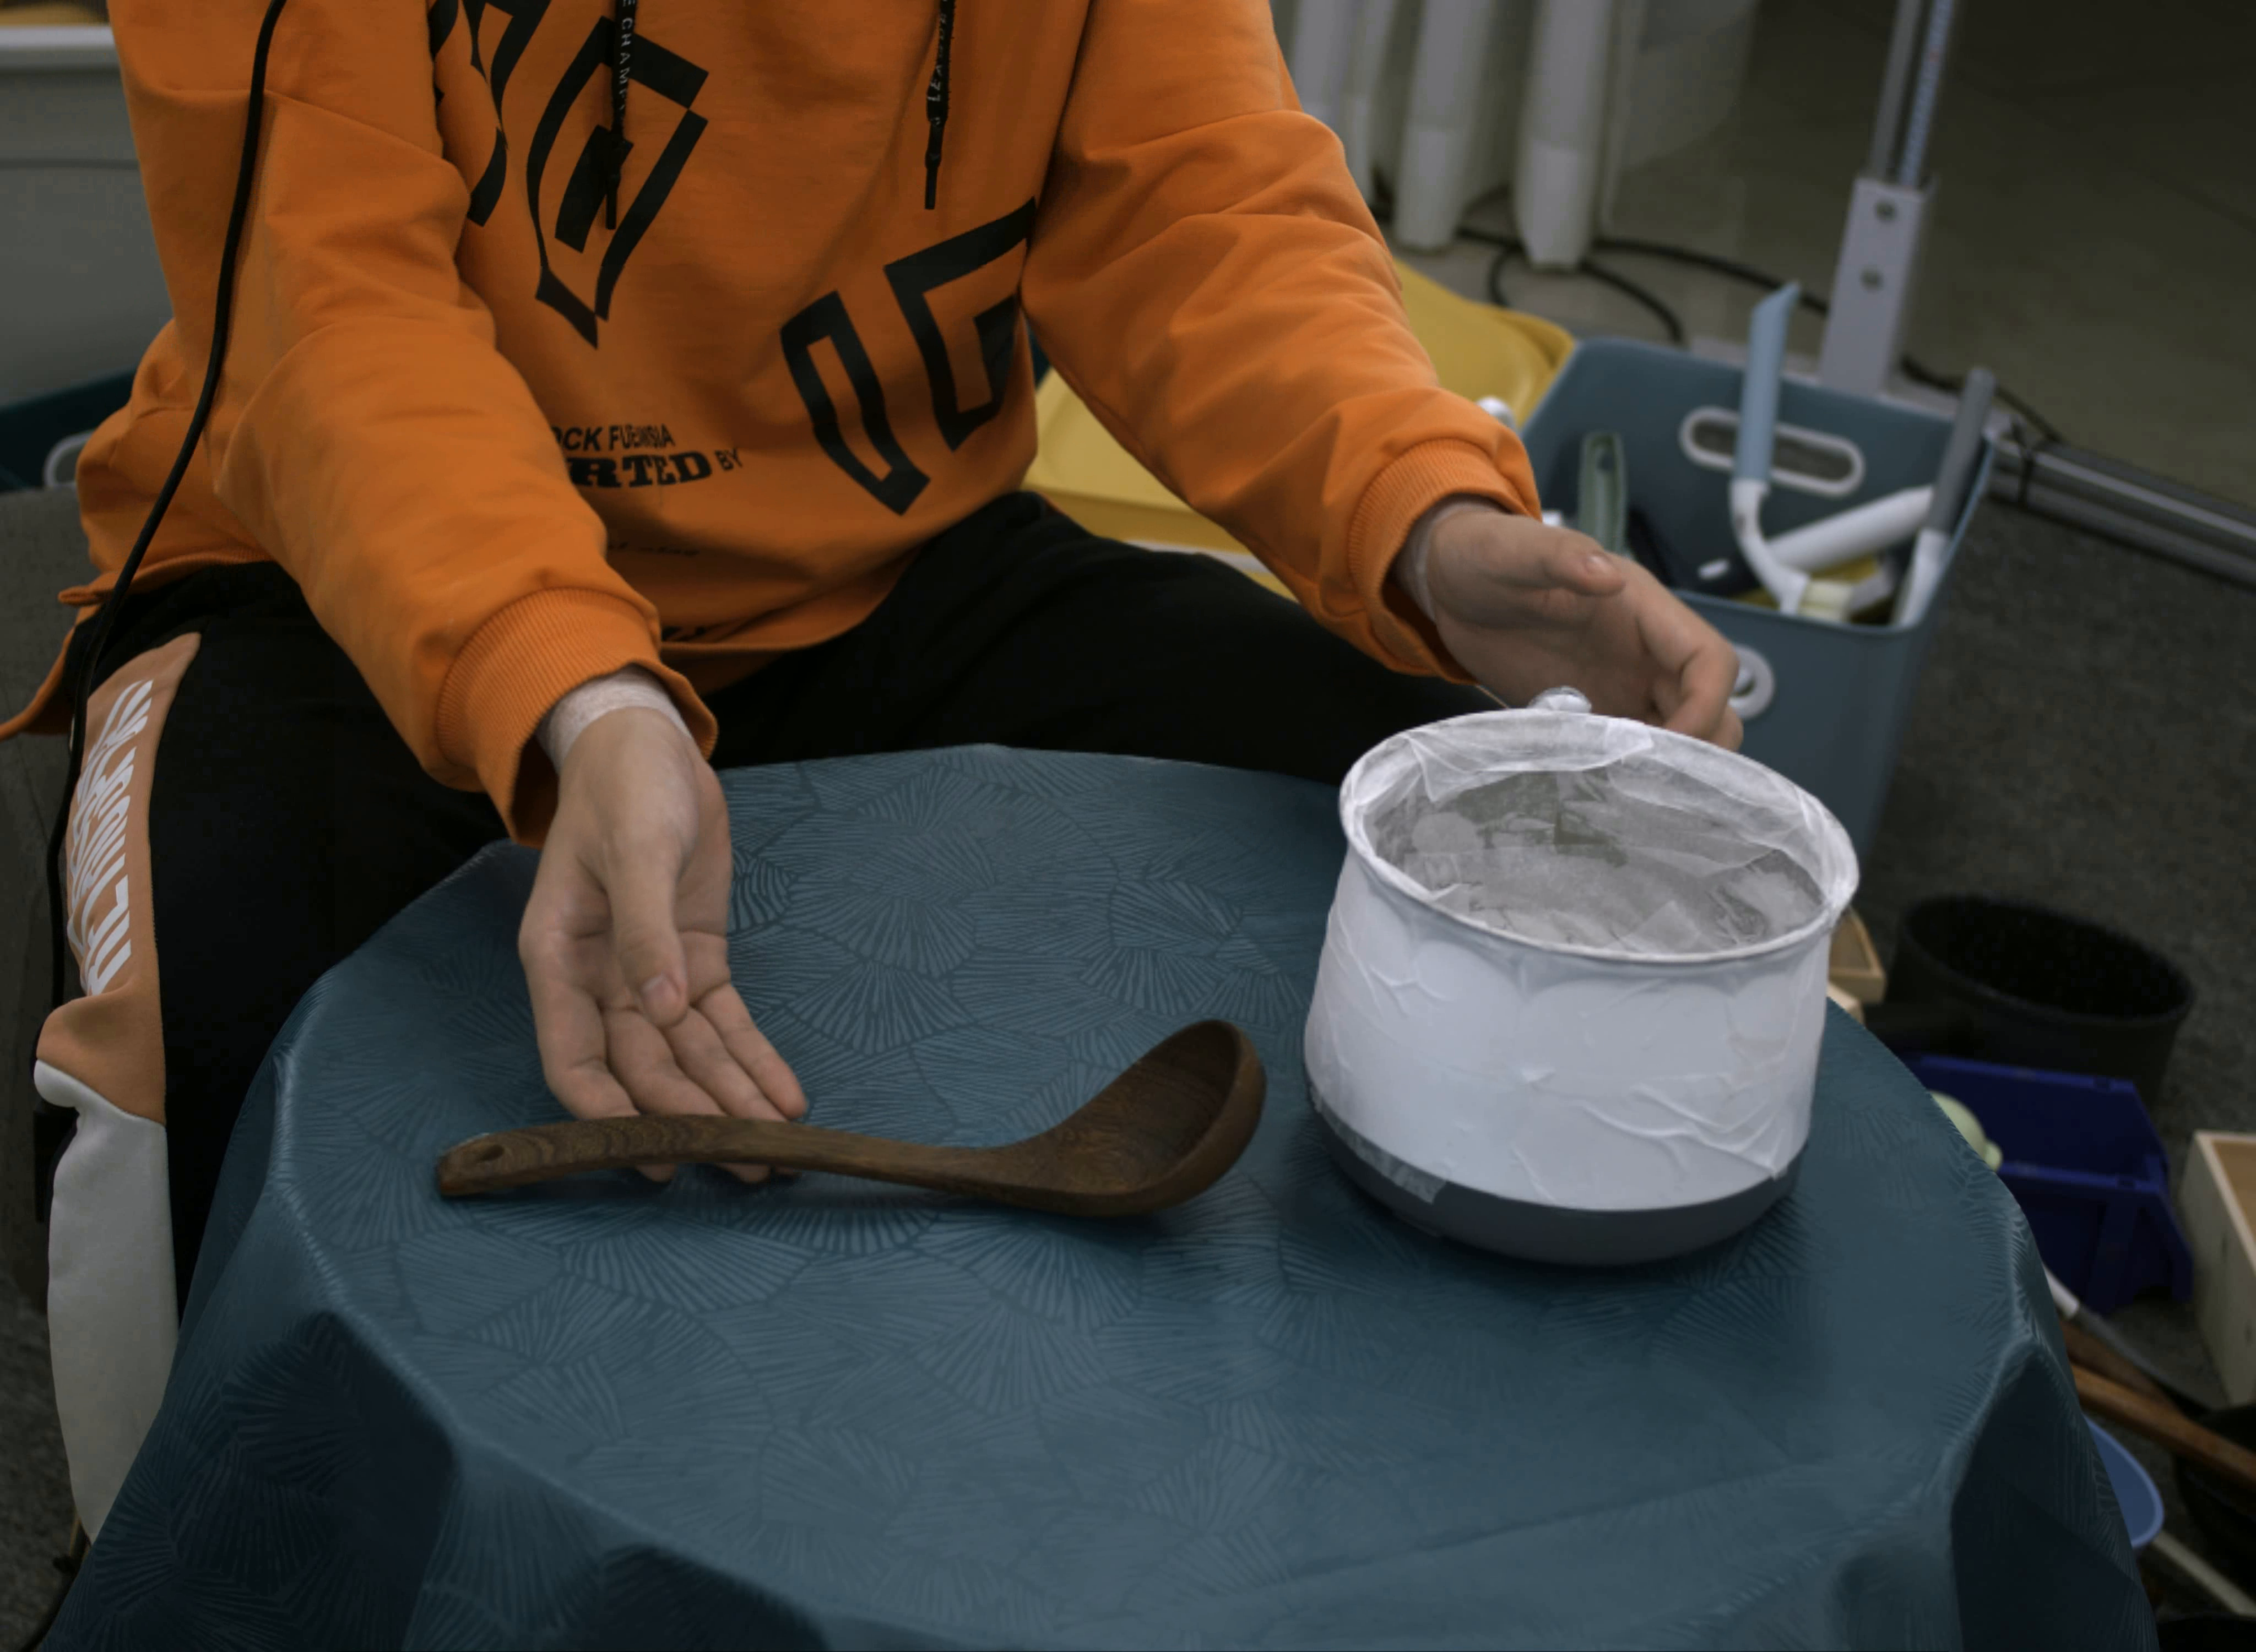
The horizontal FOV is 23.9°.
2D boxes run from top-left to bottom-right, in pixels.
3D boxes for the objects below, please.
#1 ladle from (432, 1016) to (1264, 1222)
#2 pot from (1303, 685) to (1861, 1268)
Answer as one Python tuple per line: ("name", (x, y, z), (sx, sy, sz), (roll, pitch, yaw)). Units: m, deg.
("ladle", (-0.092, 0.093, 1.765), (0.273, 0.071, 0.076), (3, 24, -9))
("pot", (0.149, 0.044, 1.841), (0.178, 0.136, 0.235), (4, 27, -6))
